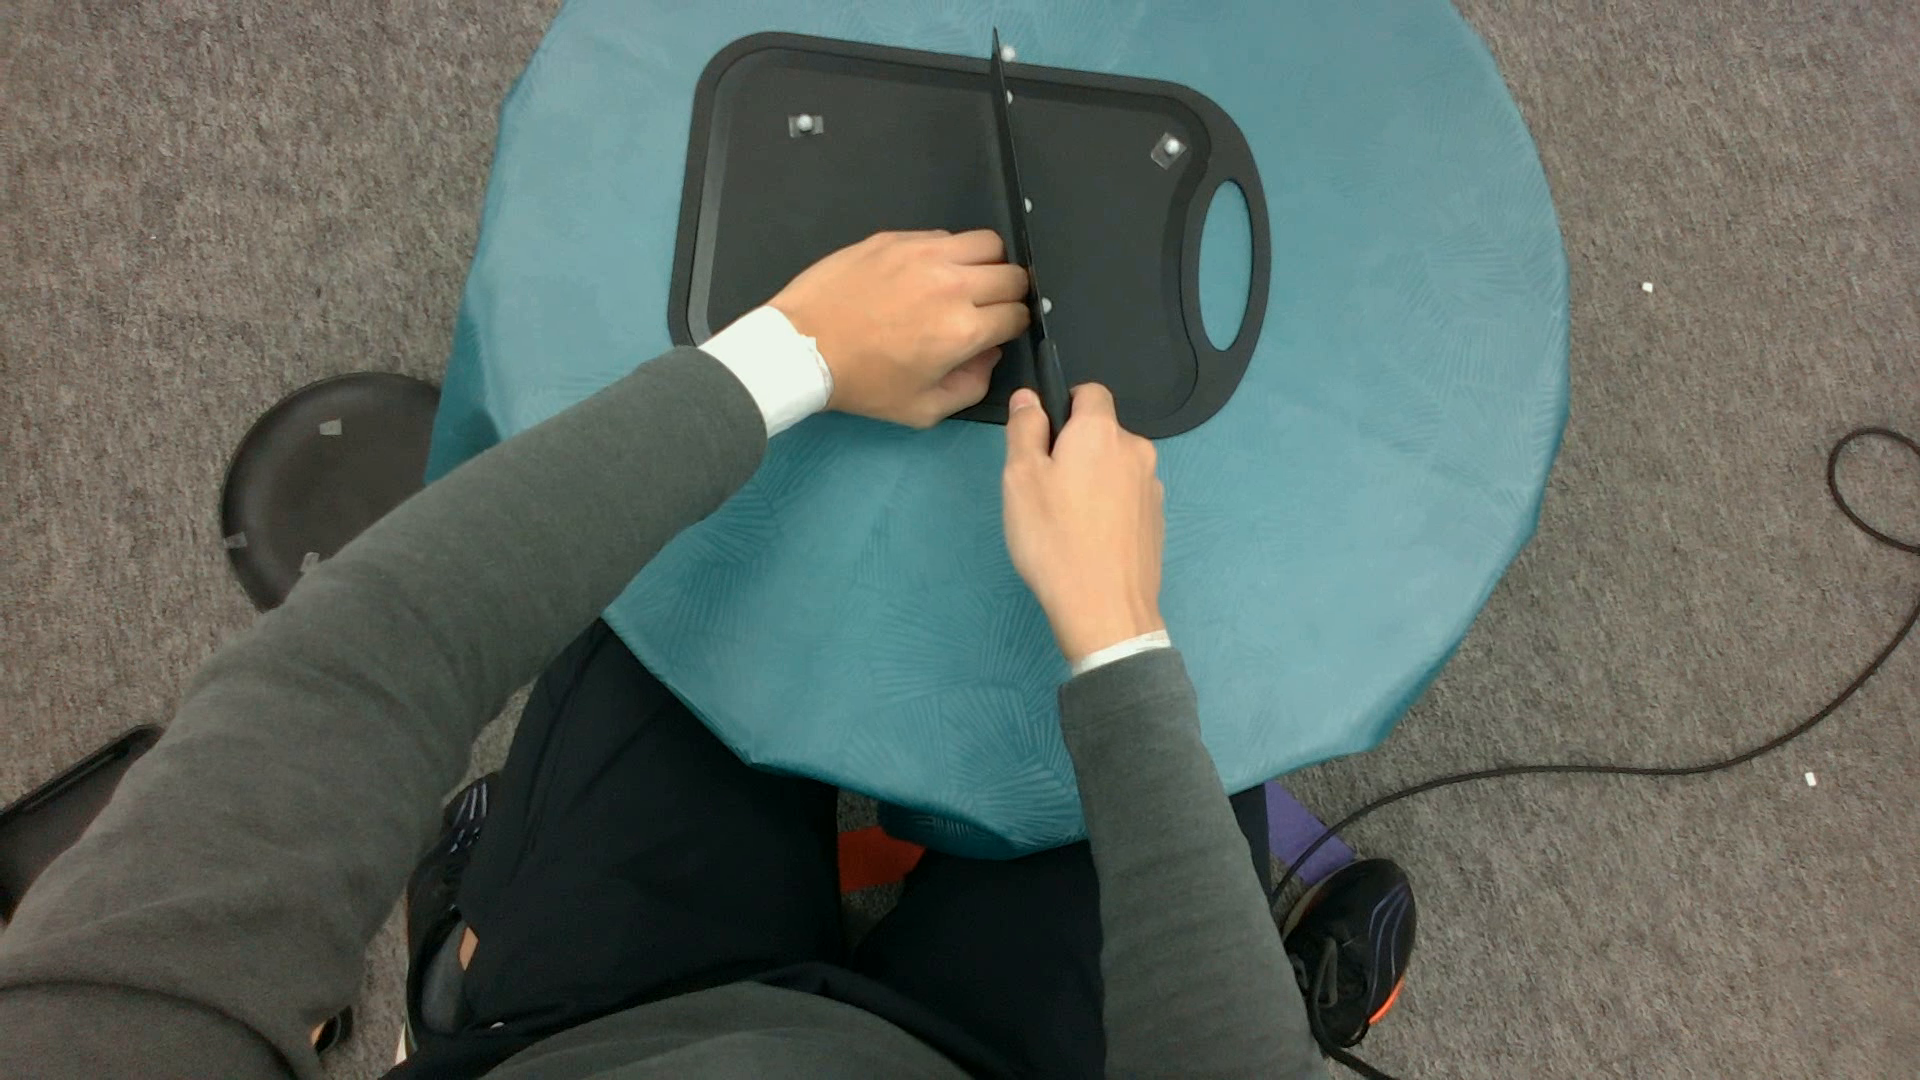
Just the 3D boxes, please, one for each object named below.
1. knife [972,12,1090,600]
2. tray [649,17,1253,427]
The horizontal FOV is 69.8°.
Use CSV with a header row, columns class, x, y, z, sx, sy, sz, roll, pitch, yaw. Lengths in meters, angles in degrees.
class,x,y,z,sx,sy,sz,roll,pitch,yaw
knife,0.030,-0.118,0.693,0.021,0.081,0.303,-8,75,-3
tray,0.002,-0.175,0.751,0.325,0.010,0.211,7,79,-5
